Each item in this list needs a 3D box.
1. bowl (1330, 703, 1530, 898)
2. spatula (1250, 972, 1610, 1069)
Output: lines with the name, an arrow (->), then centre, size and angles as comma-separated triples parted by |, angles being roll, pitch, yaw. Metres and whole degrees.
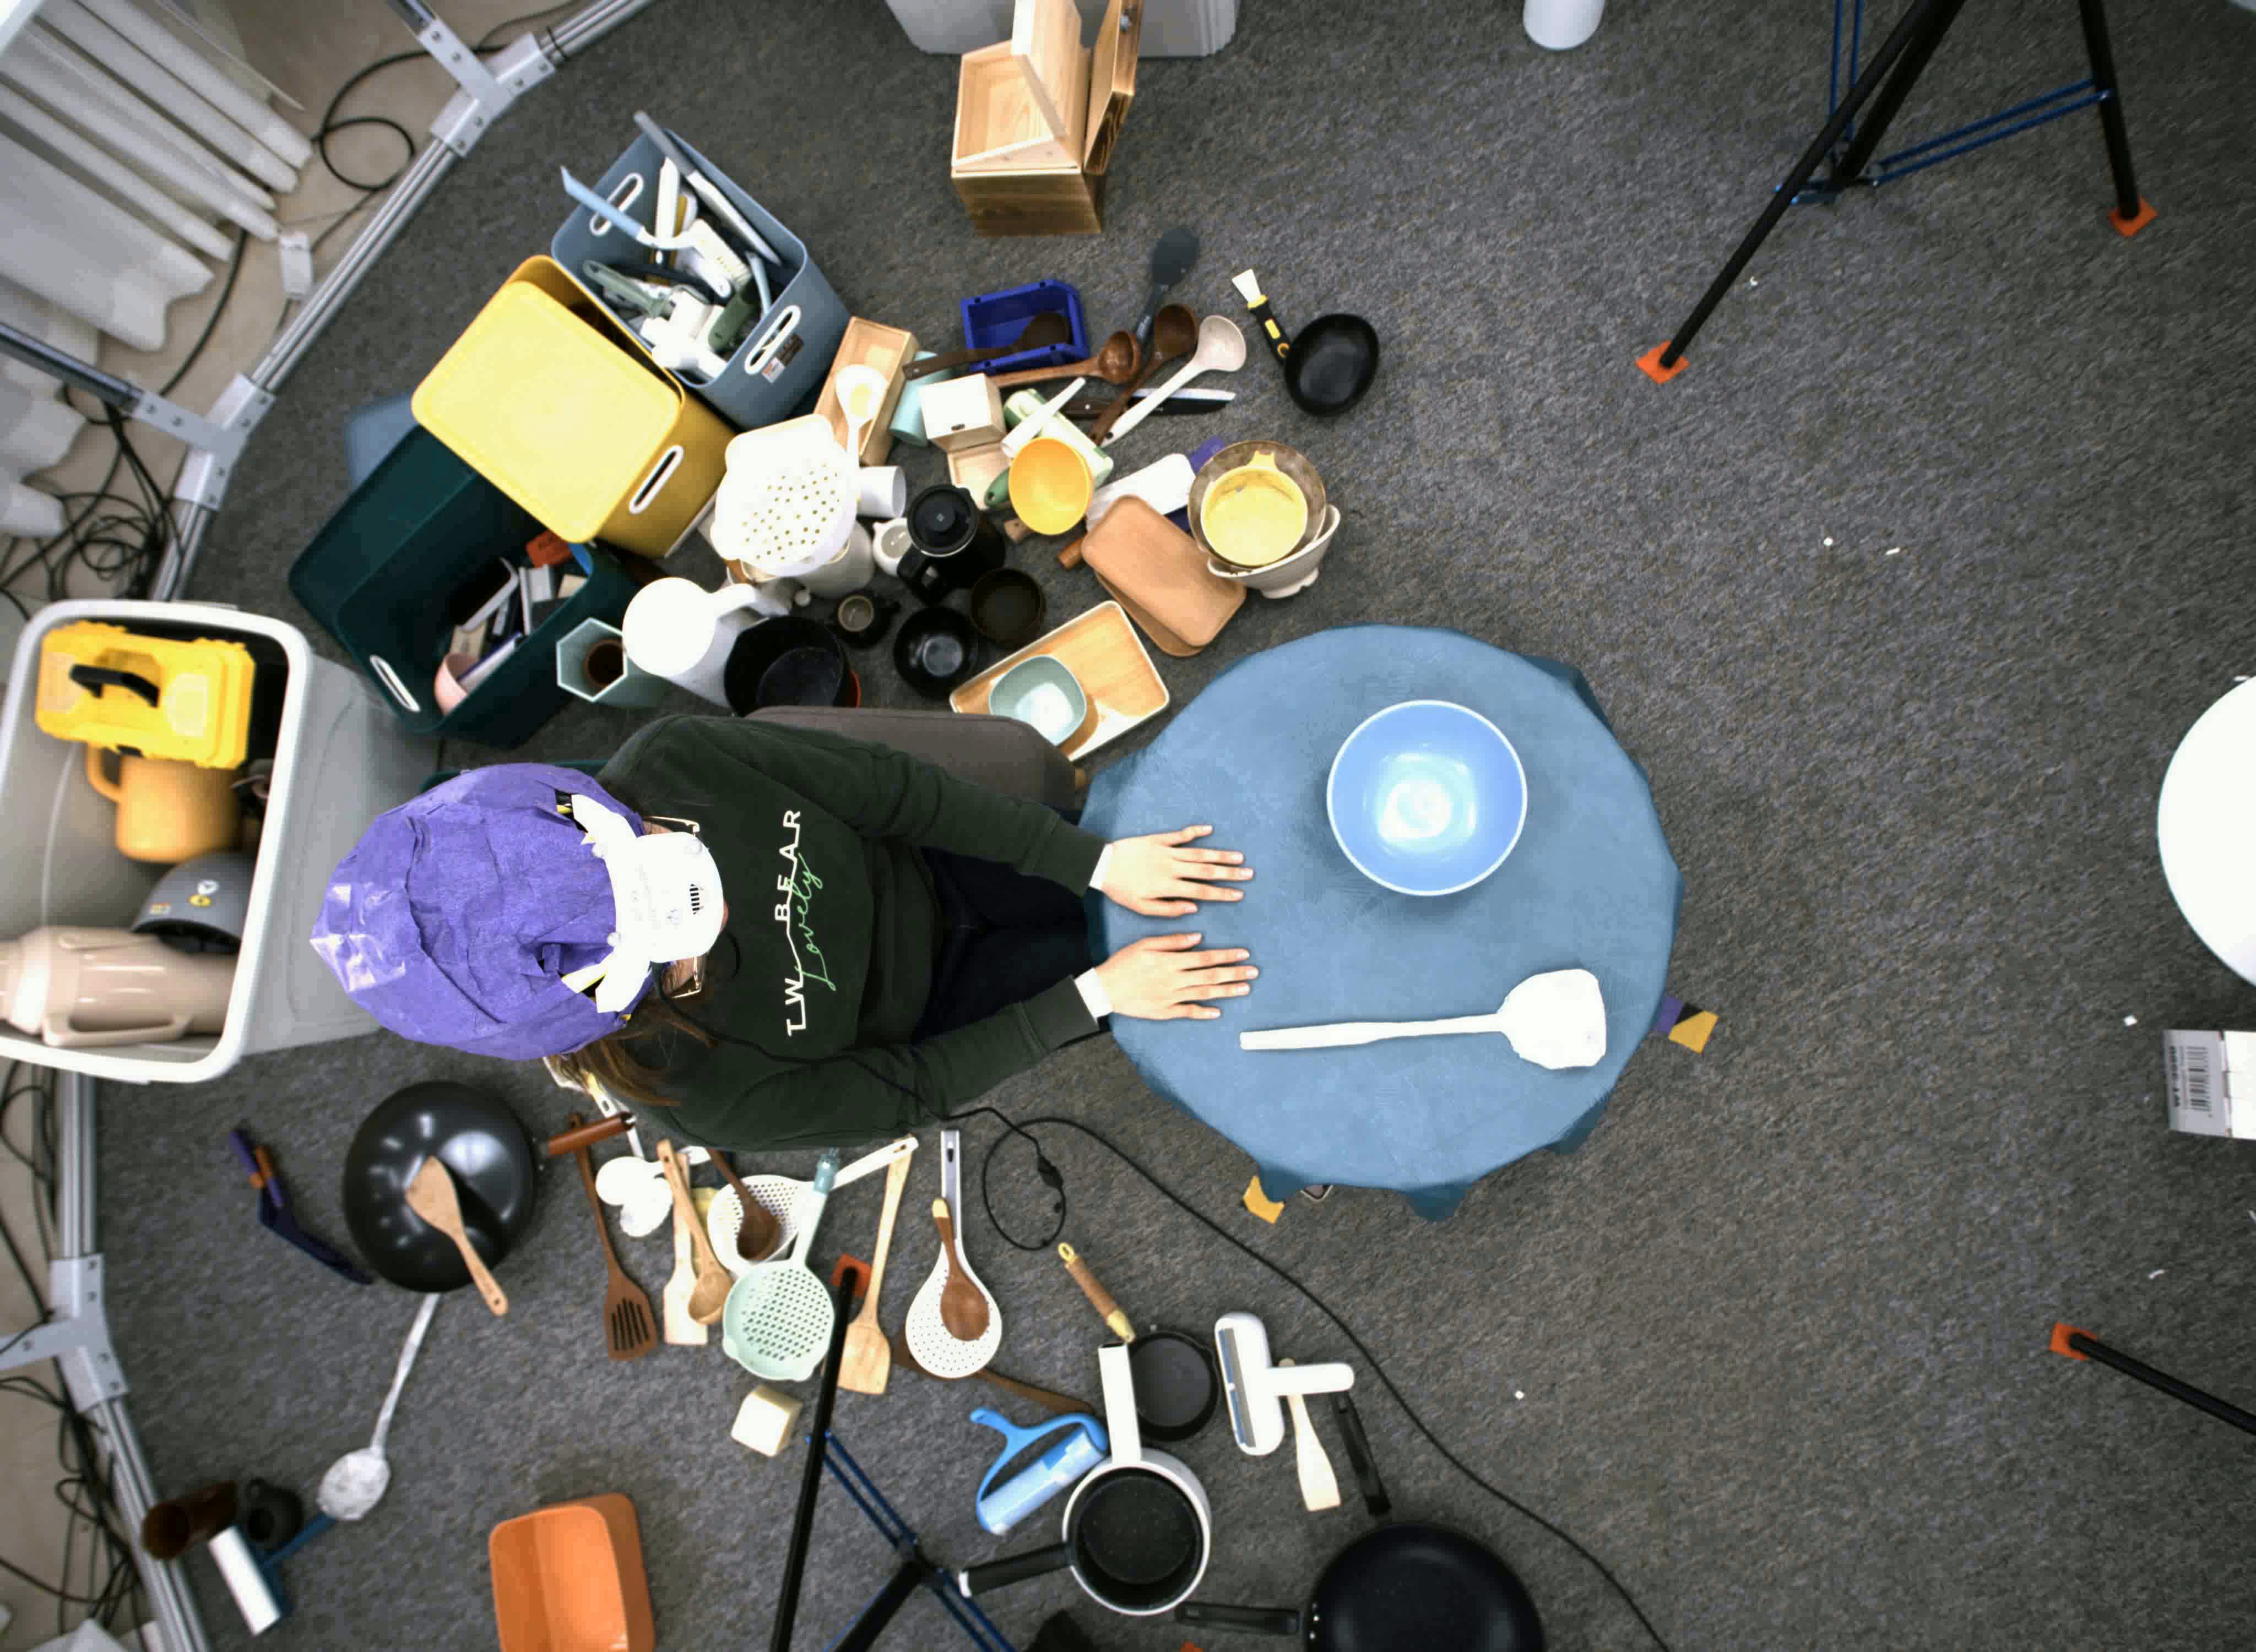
bowl -> 0.307, -0.023, 1.416 | 0.197, 0.095, 0.195 | -1, 86, 9
spatula -> 0.307, 0.206, 1.429 | 0.366, 0.045, 0.098 | -4, 87, 10
